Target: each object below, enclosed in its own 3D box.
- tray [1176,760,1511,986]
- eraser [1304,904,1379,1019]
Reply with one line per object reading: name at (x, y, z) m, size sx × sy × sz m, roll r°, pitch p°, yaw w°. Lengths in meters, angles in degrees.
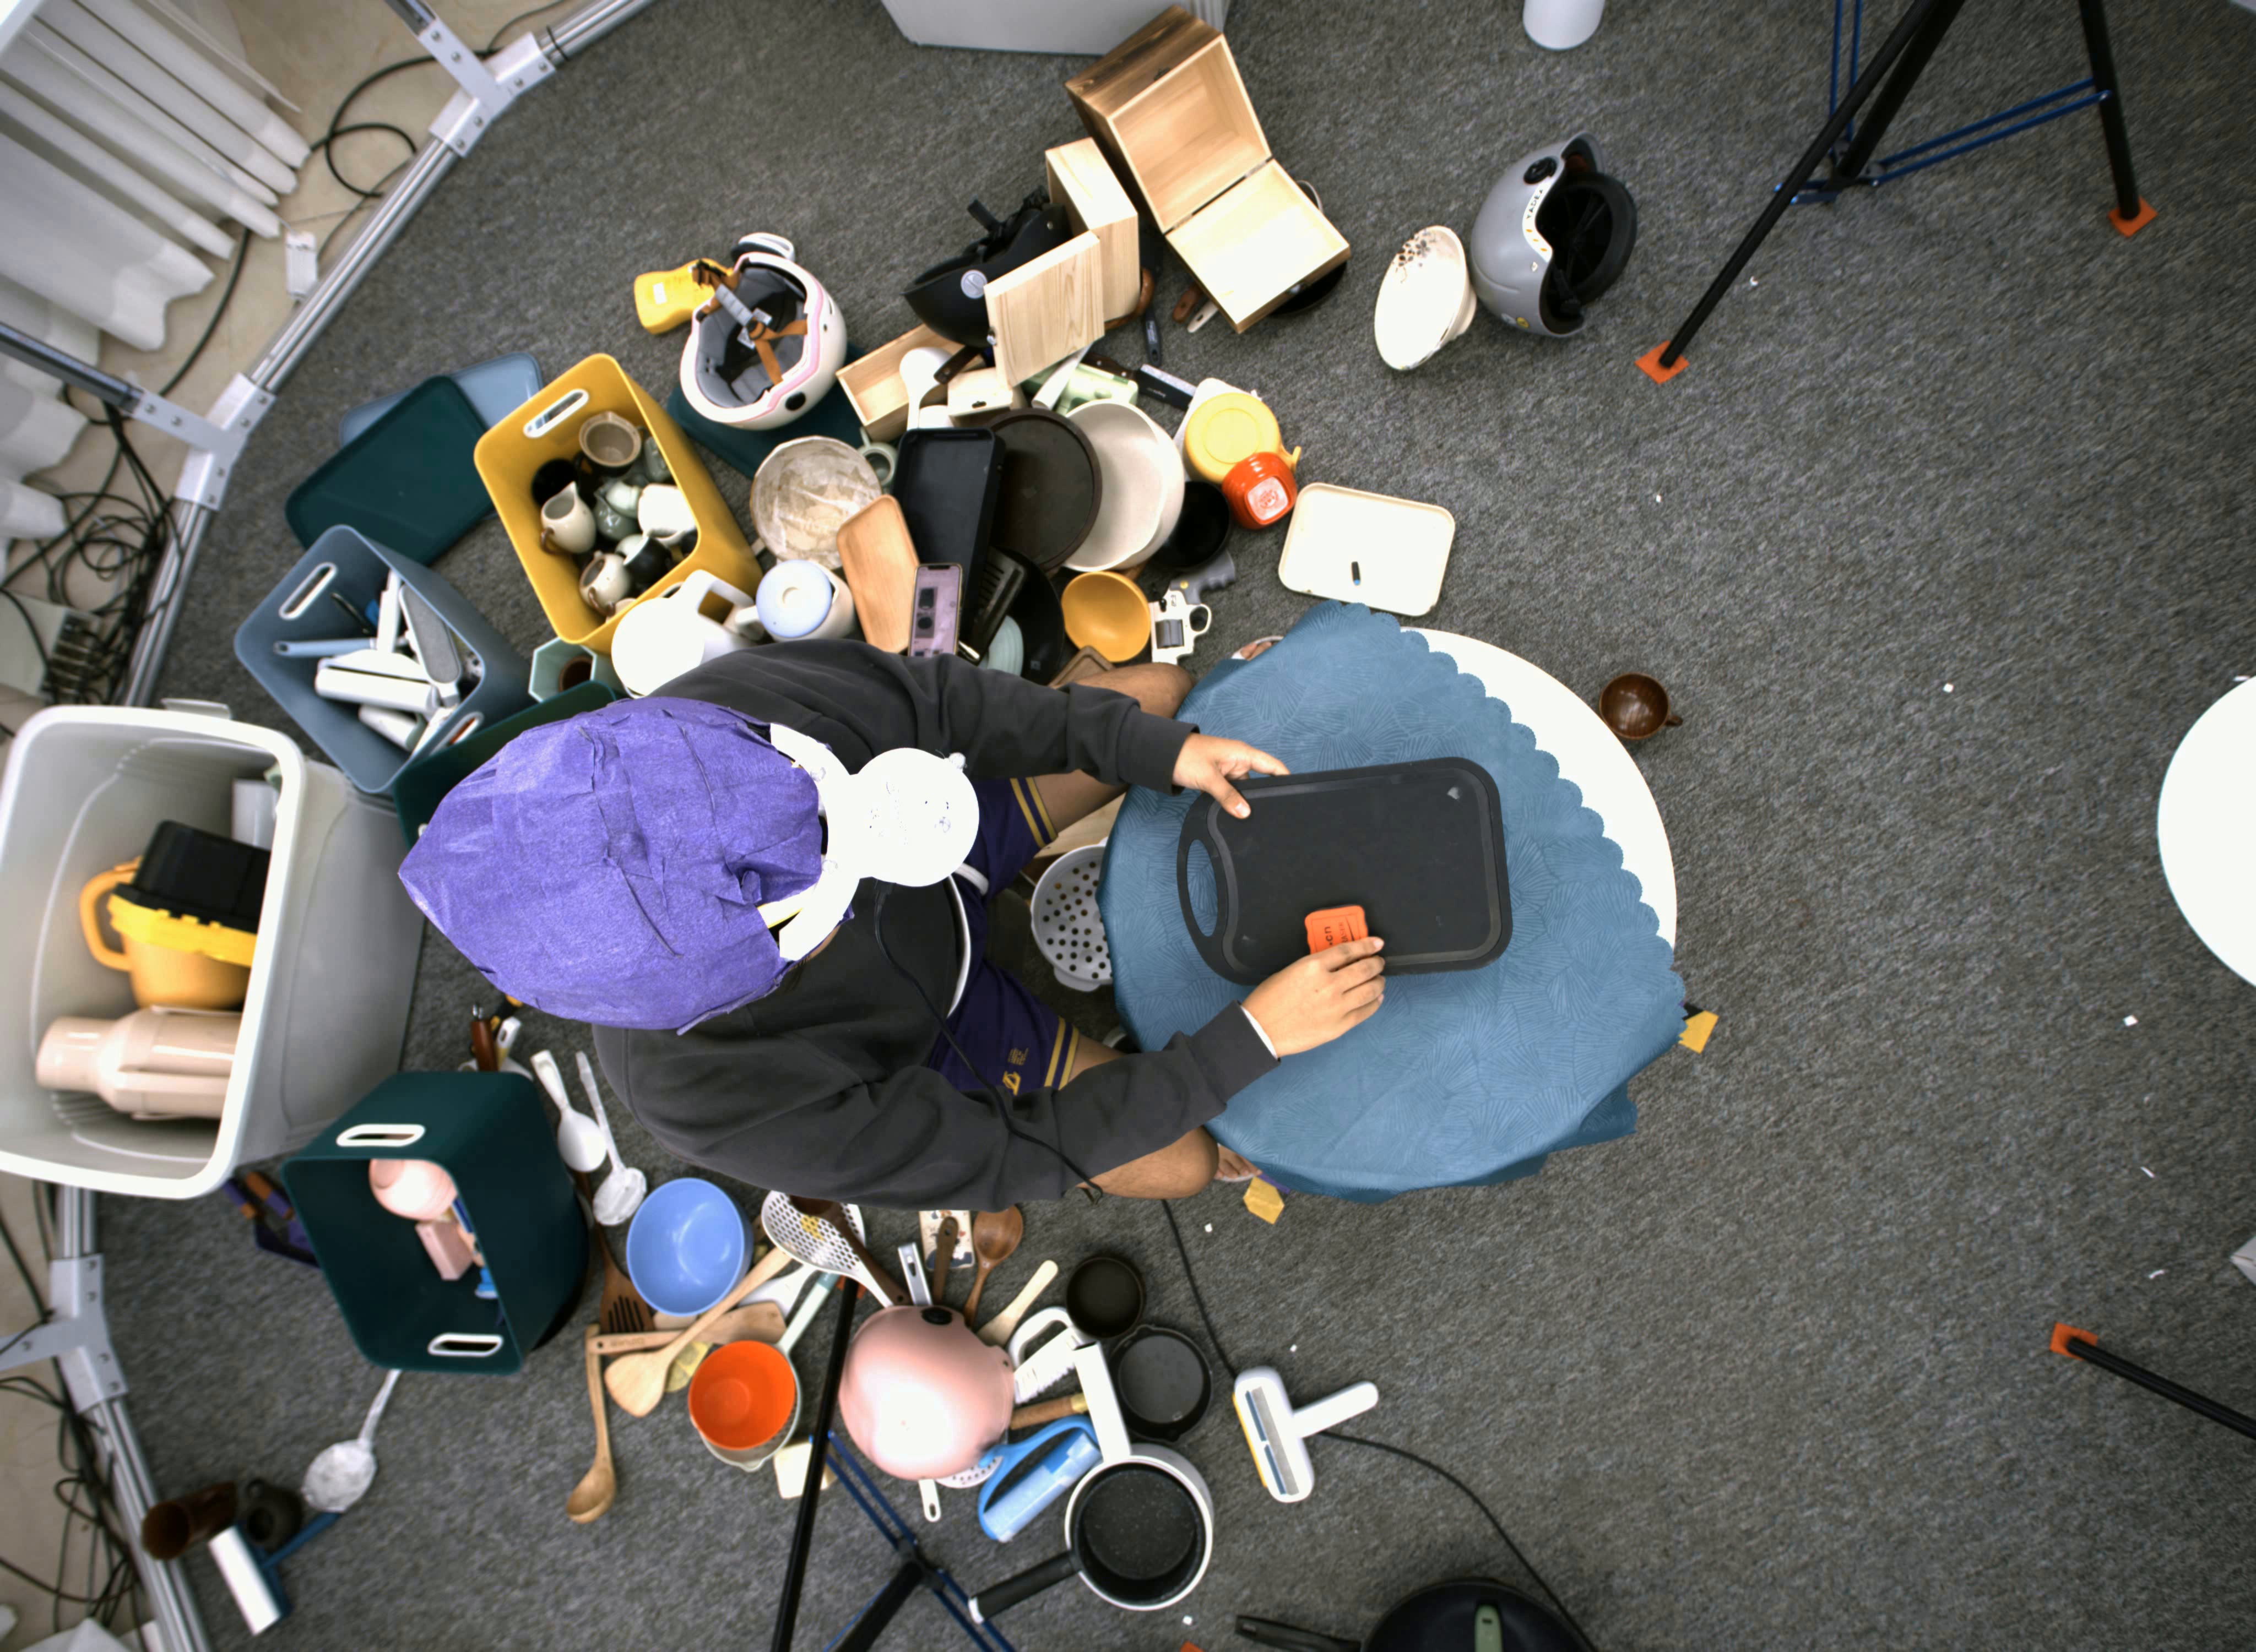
tray at (0.206, 0.050, 1.360) m, size 0.327 × 0.009 × 0.212 m, roll -5°, pitch 99°, yaw 16°
eraser at (0.210, 0.132, 1.360) m, size 0.059 × 0.022 × 0.108 m, roll -9°, pitch 96°, yaw 16°
